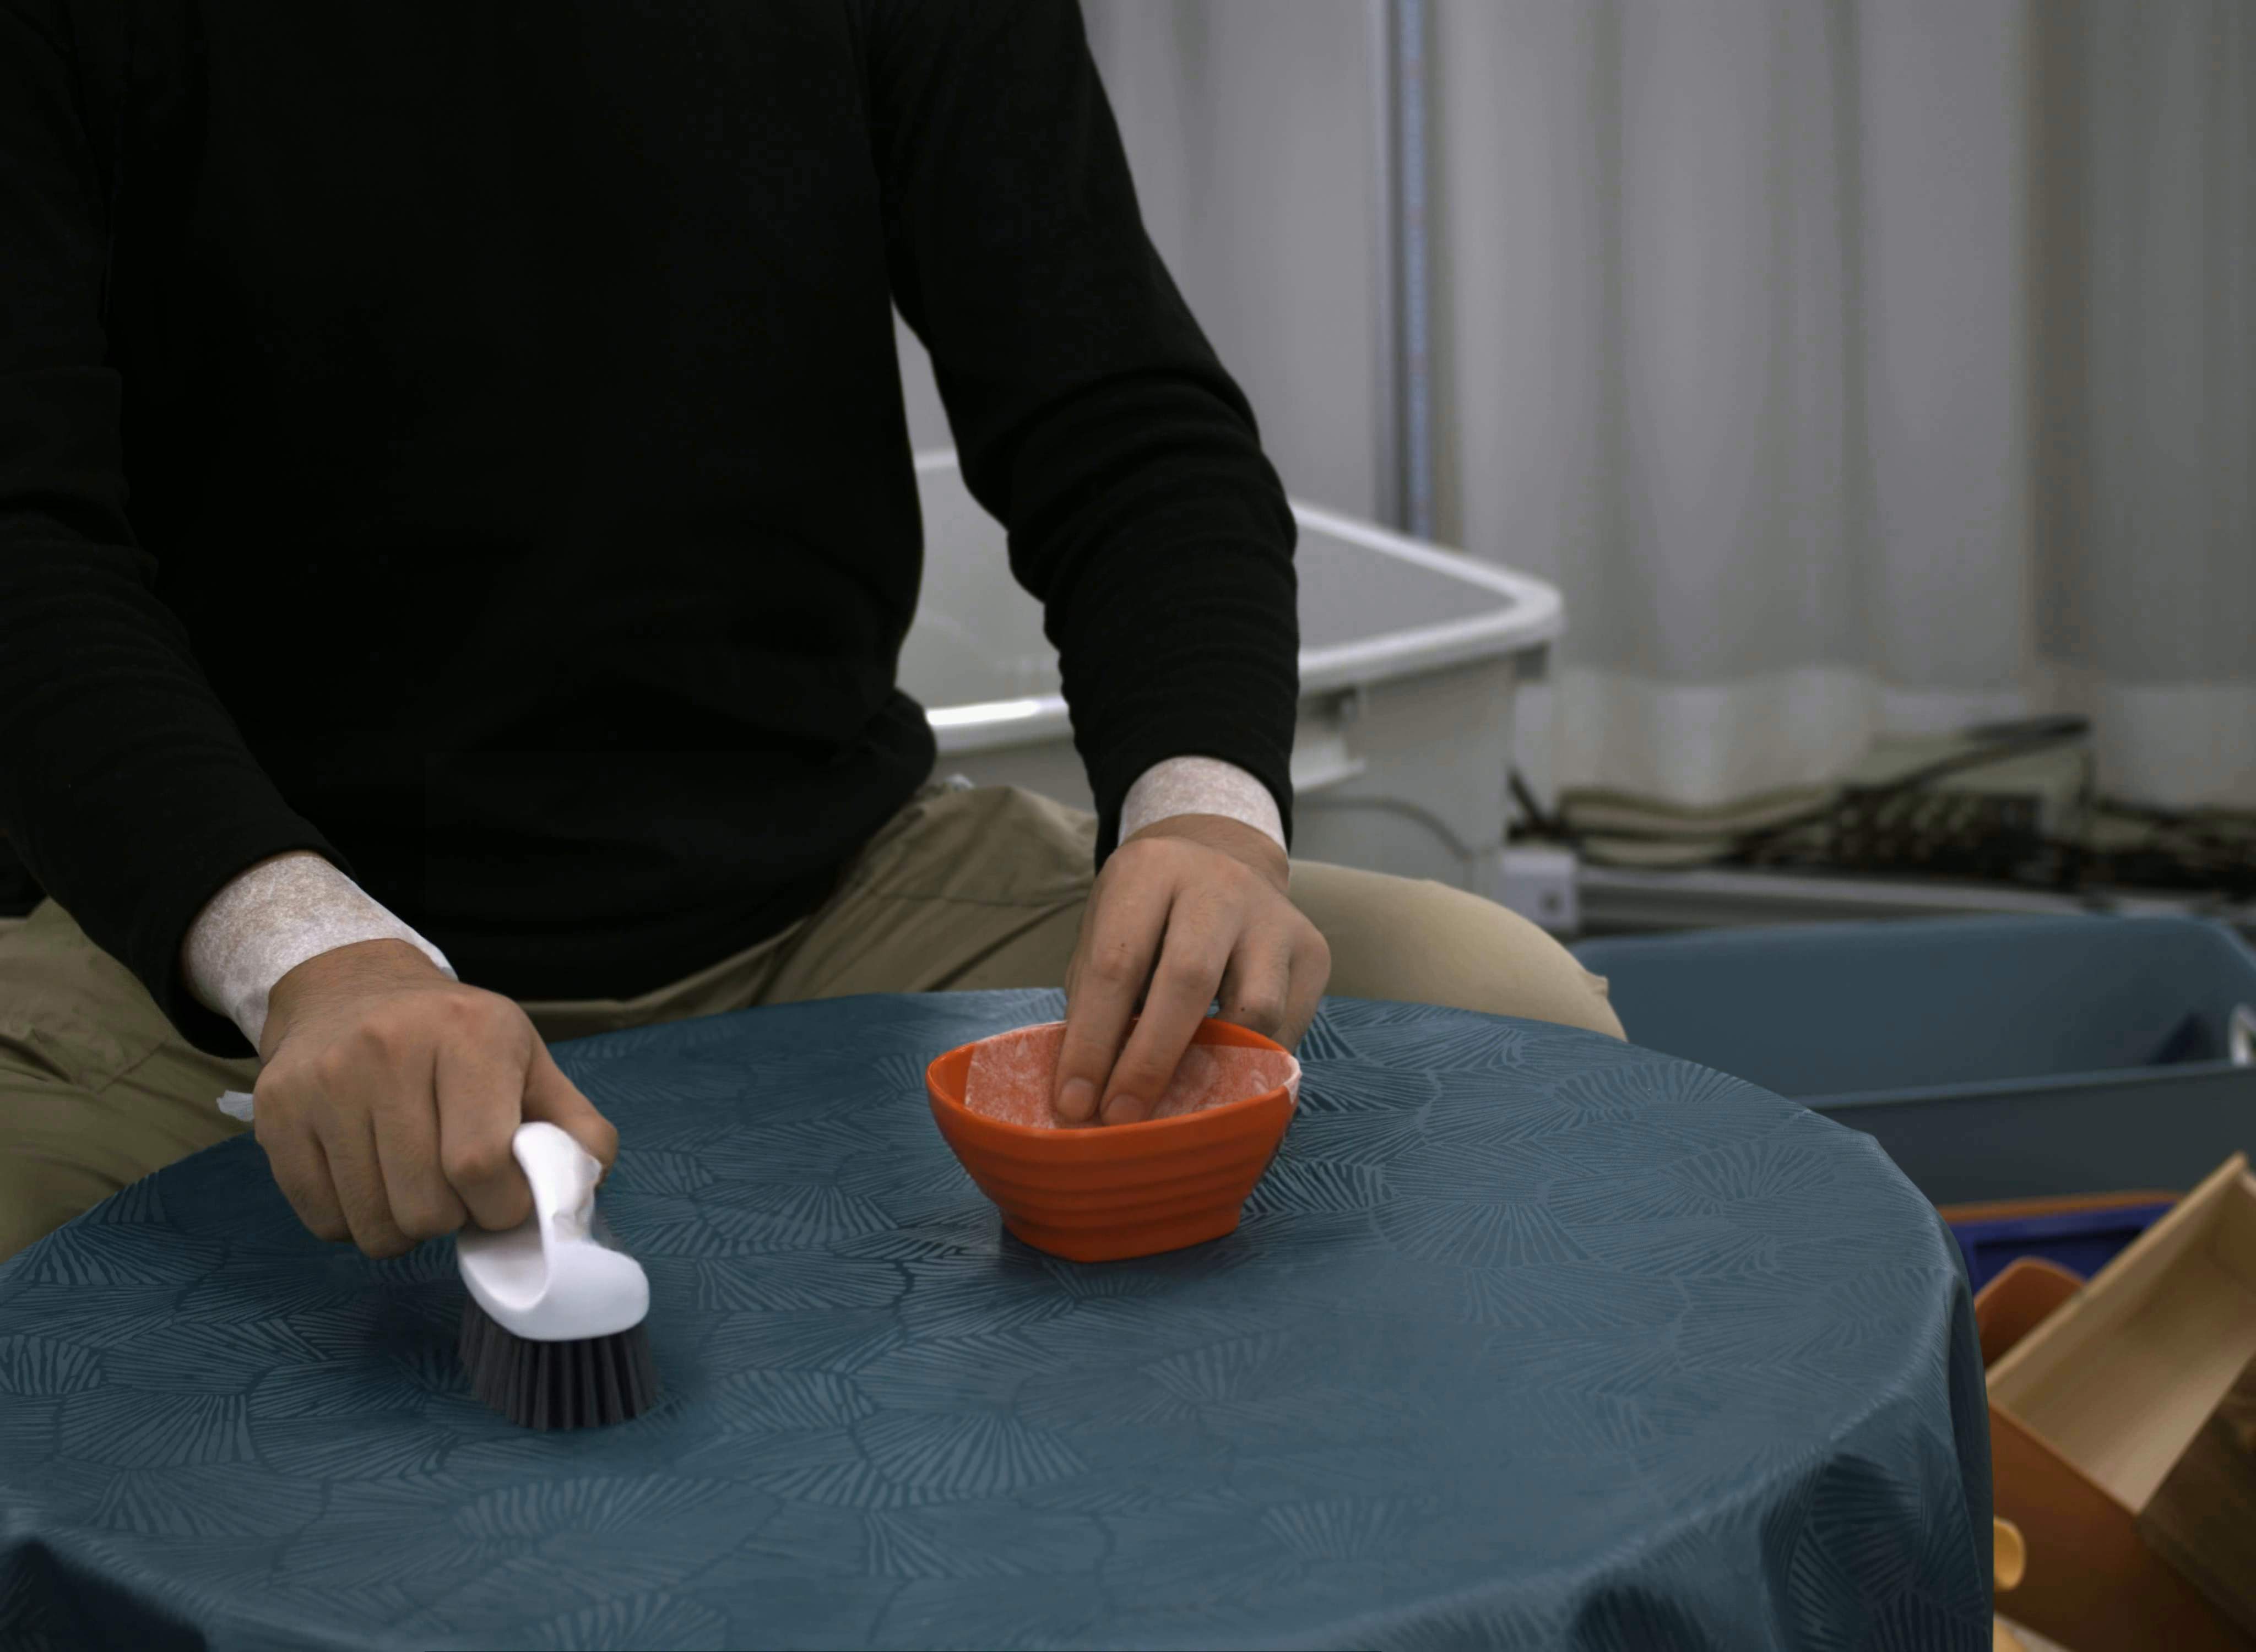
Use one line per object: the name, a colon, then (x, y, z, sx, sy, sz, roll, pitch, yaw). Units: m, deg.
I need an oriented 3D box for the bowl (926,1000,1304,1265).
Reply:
bowl: (-0.003, 0.097, 1.679, 0.118, 0.051, 0.120, -3, 18, 1)

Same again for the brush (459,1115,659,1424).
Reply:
brush: (-0.166, 0.122, 1.574, 0.050, 0.072, 0.100, -7, 15, -14)
